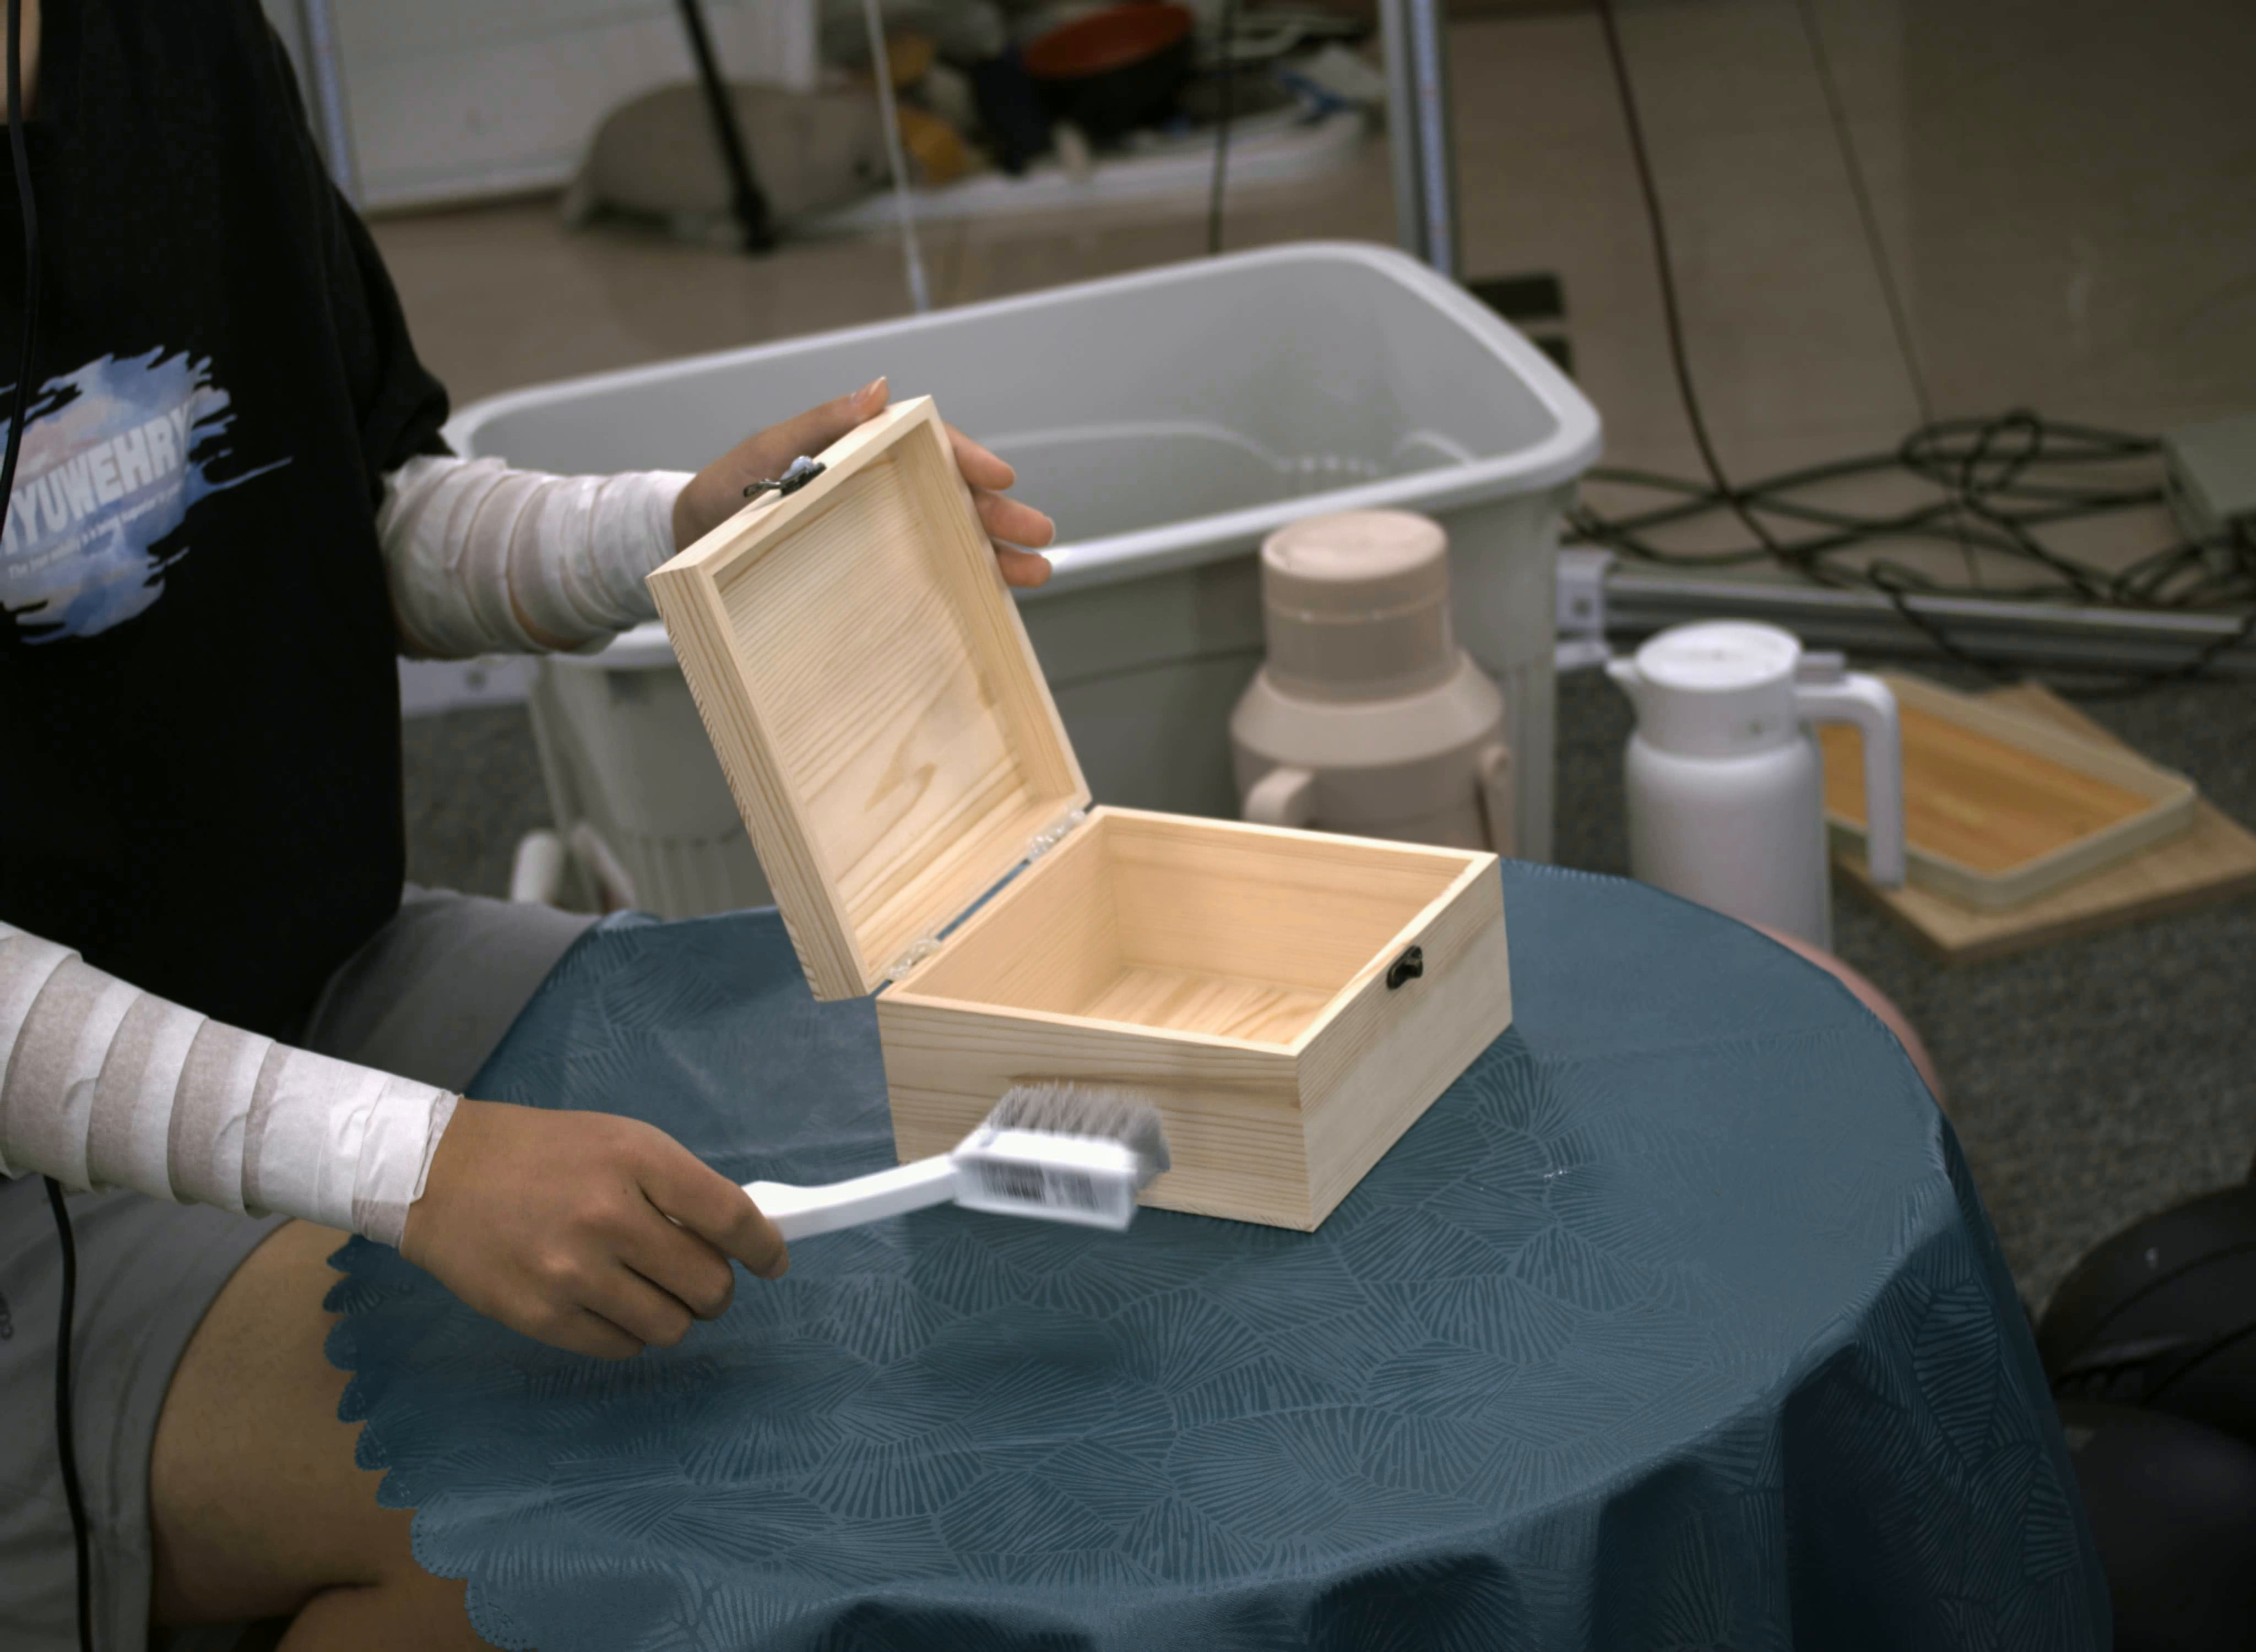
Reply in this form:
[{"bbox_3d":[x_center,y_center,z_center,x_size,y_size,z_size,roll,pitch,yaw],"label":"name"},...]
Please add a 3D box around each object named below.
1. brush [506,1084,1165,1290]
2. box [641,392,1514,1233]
[{"bbox_3d":[-0.106,0.130,2.048,0.243,0.035,0.049,-10,29,14],"label":"brush"},{"bbox_3d":[-0.011,-0.011,2.174,0.264,0.257,0.179,7,30,27],"label":"box"}]
